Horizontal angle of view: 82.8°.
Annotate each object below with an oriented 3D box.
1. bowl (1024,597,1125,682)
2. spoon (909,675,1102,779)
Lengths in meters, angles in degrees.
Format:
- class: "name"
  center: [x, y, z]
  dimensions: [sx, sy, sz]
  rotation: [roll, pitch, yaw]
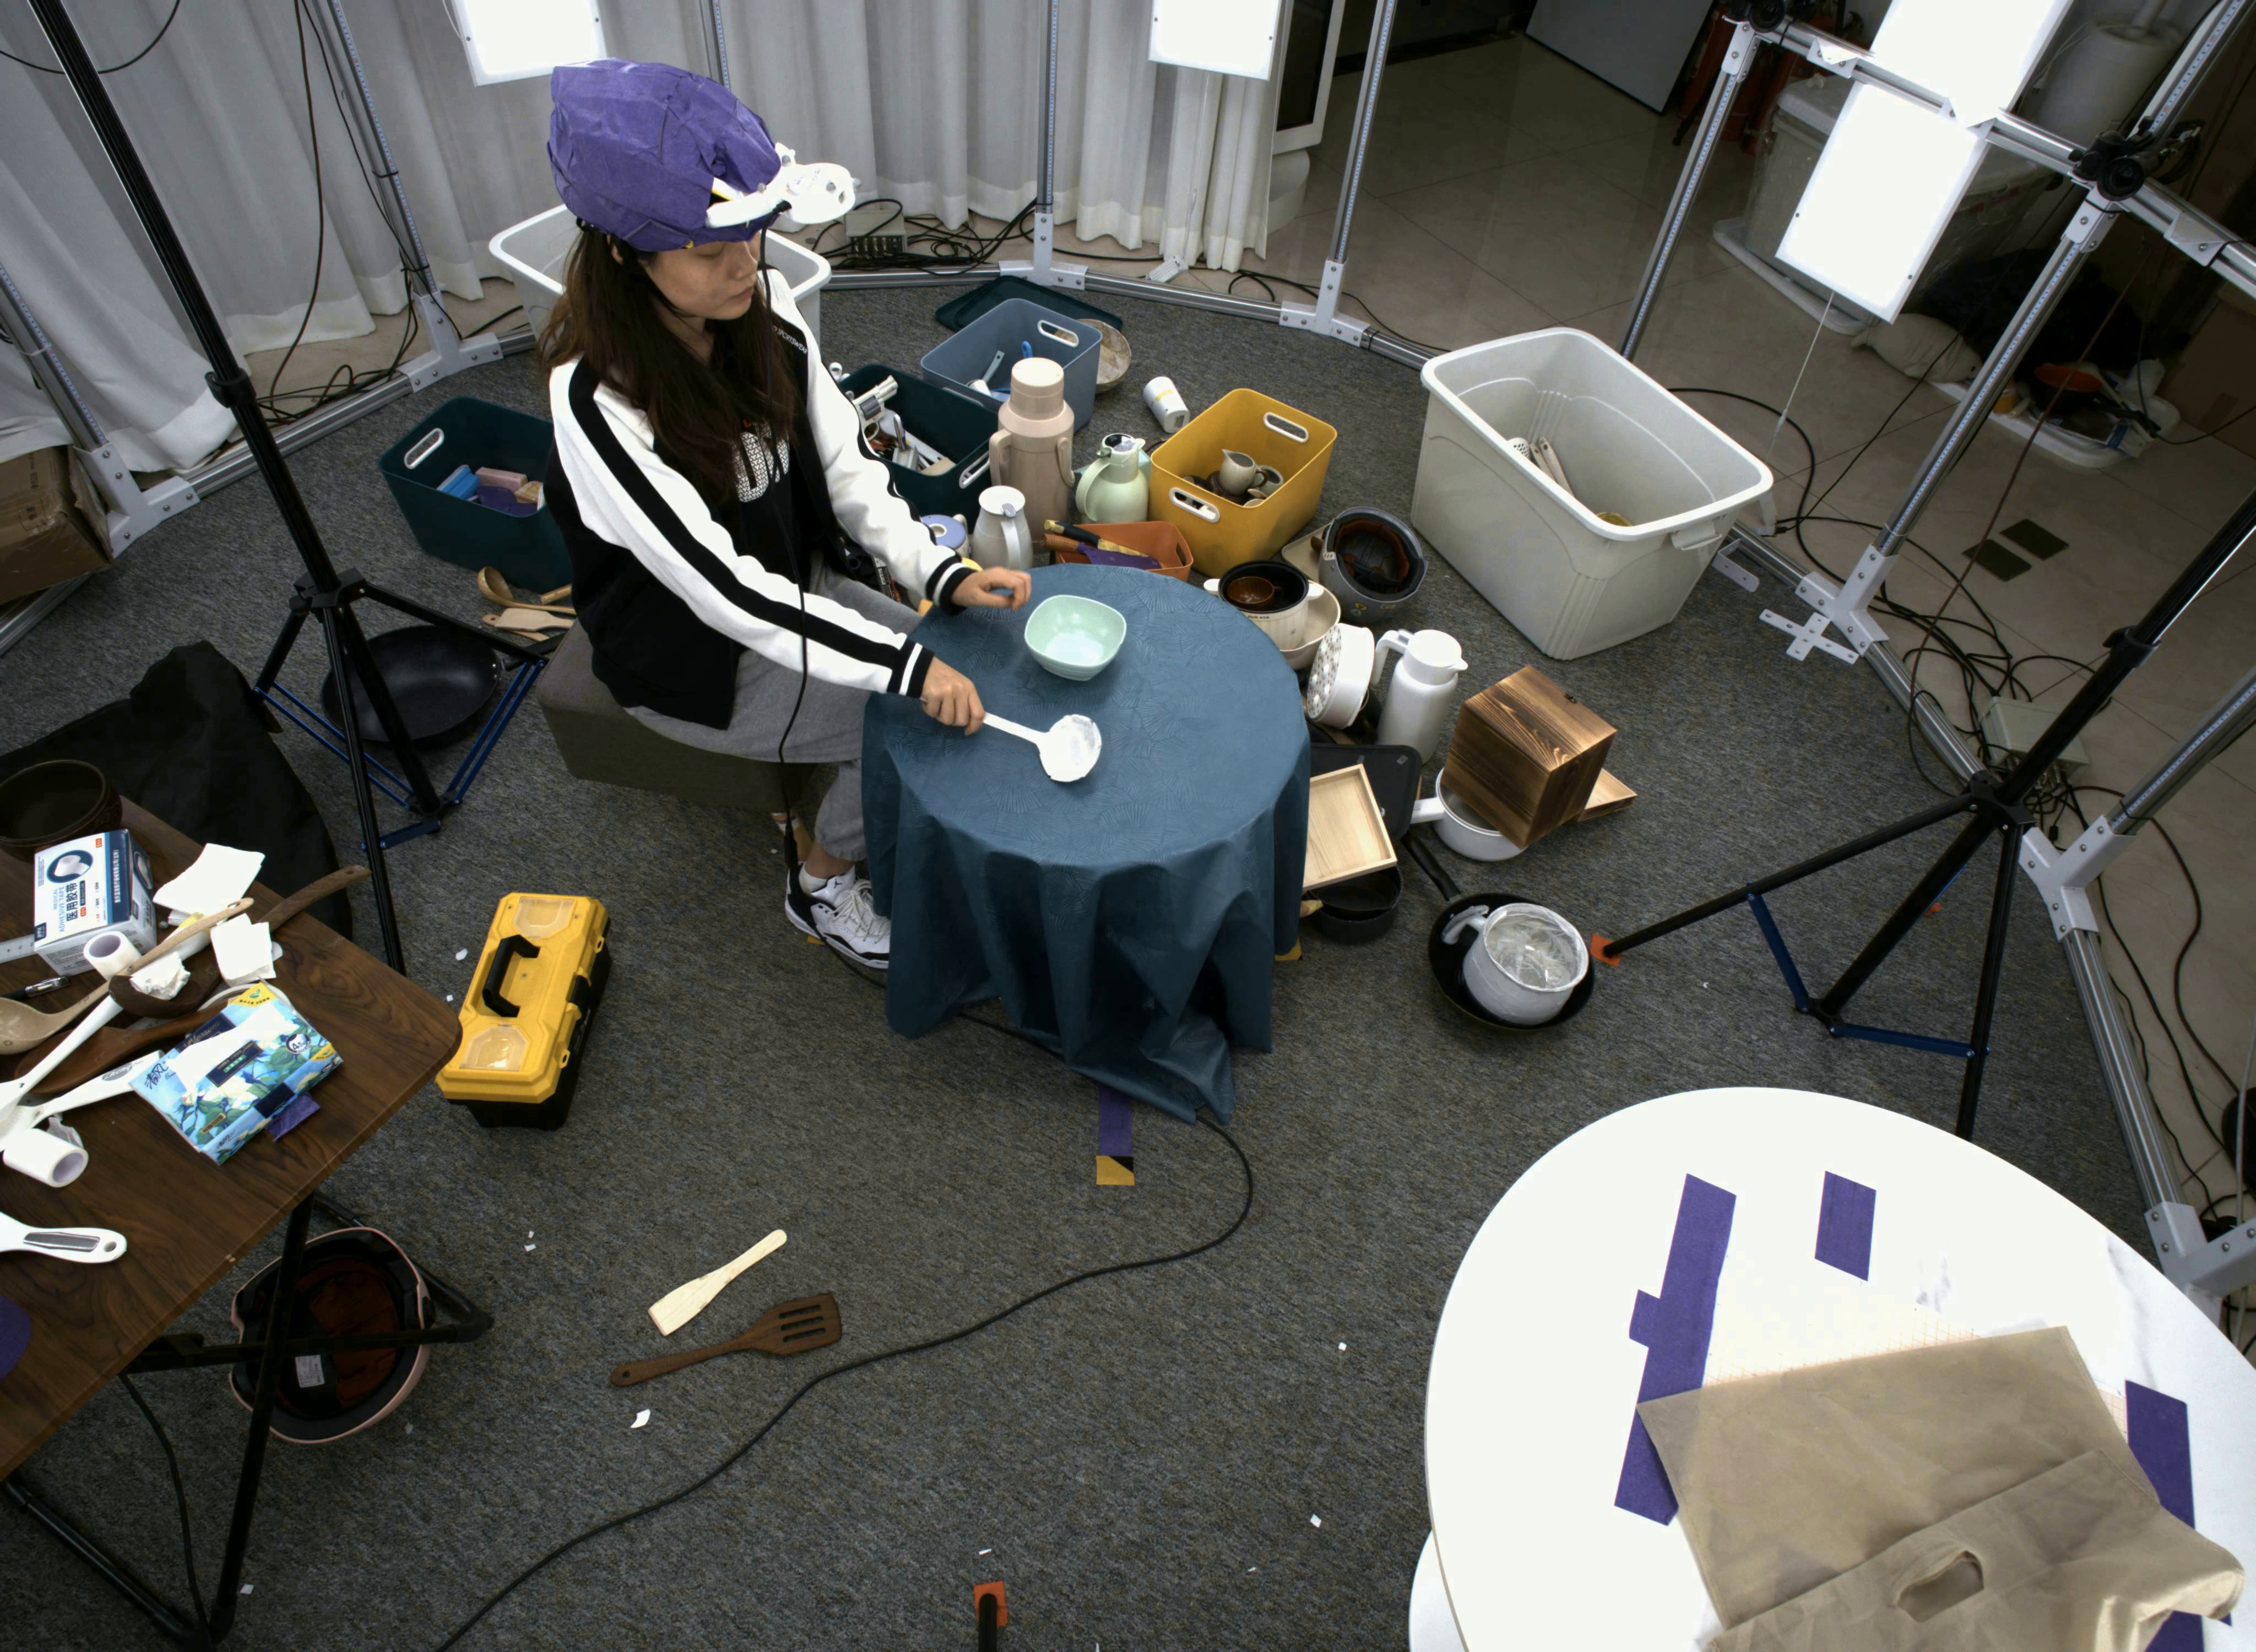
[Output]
- class: "bowl"
  center: [-0.079, -0.261, 1.855]
  dimensions: [0.151, 0.057, 0.155]
  rotation: [4, 49, -5]
- class: "spoon"
  center: [-0.165, -0.150, 1.719]
  dimensions: [0.277, 0.059, 0.102]
  rotation: [25, 76, 1]
